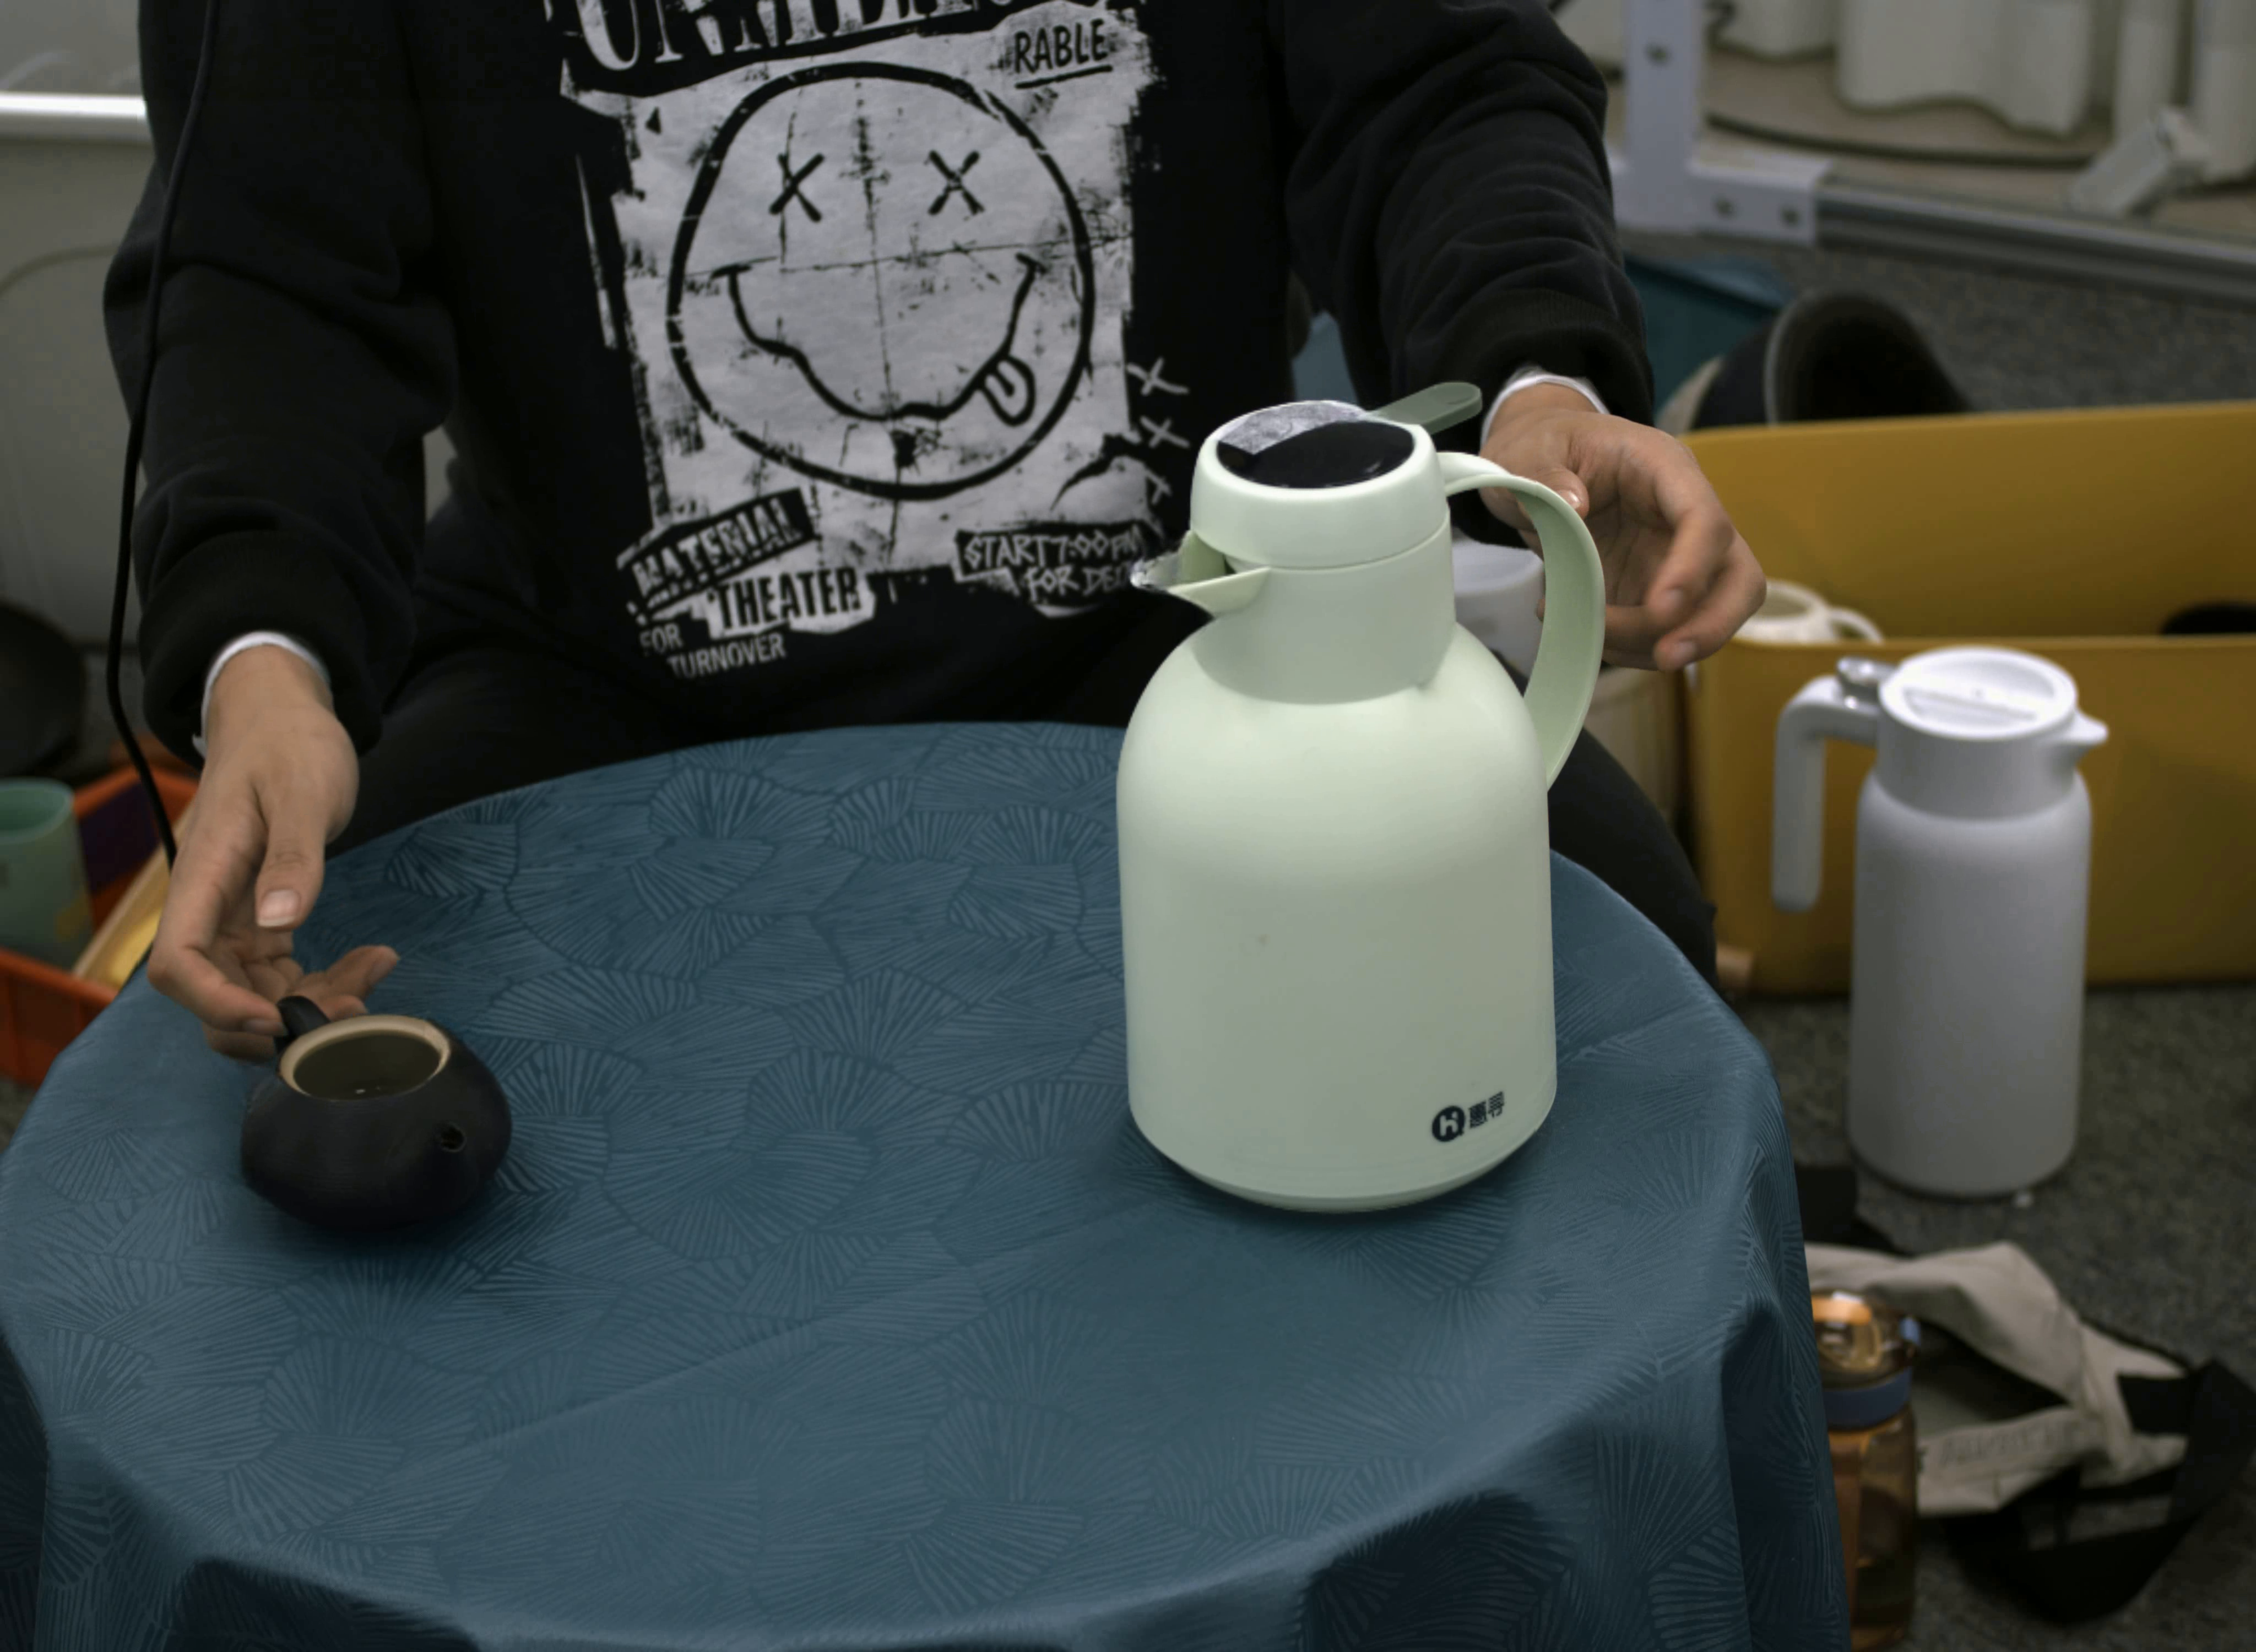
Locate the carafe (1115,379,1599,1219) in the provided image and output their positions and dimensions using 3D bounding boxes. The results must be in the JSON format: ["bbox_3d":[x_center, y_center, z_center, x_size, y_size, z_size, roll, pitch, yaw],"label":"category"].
[{"bbox_3d":[0.077,-0.015,1.846,0.188,0.254,0.144,-19,28,-35],"label":"carafe"}]

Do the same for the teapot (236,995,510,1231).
[{"bbox_3d":[-0.252,0.100,1.868,0.091,0.052,0.133,-17,31,-30],"label":"teapot"}]
